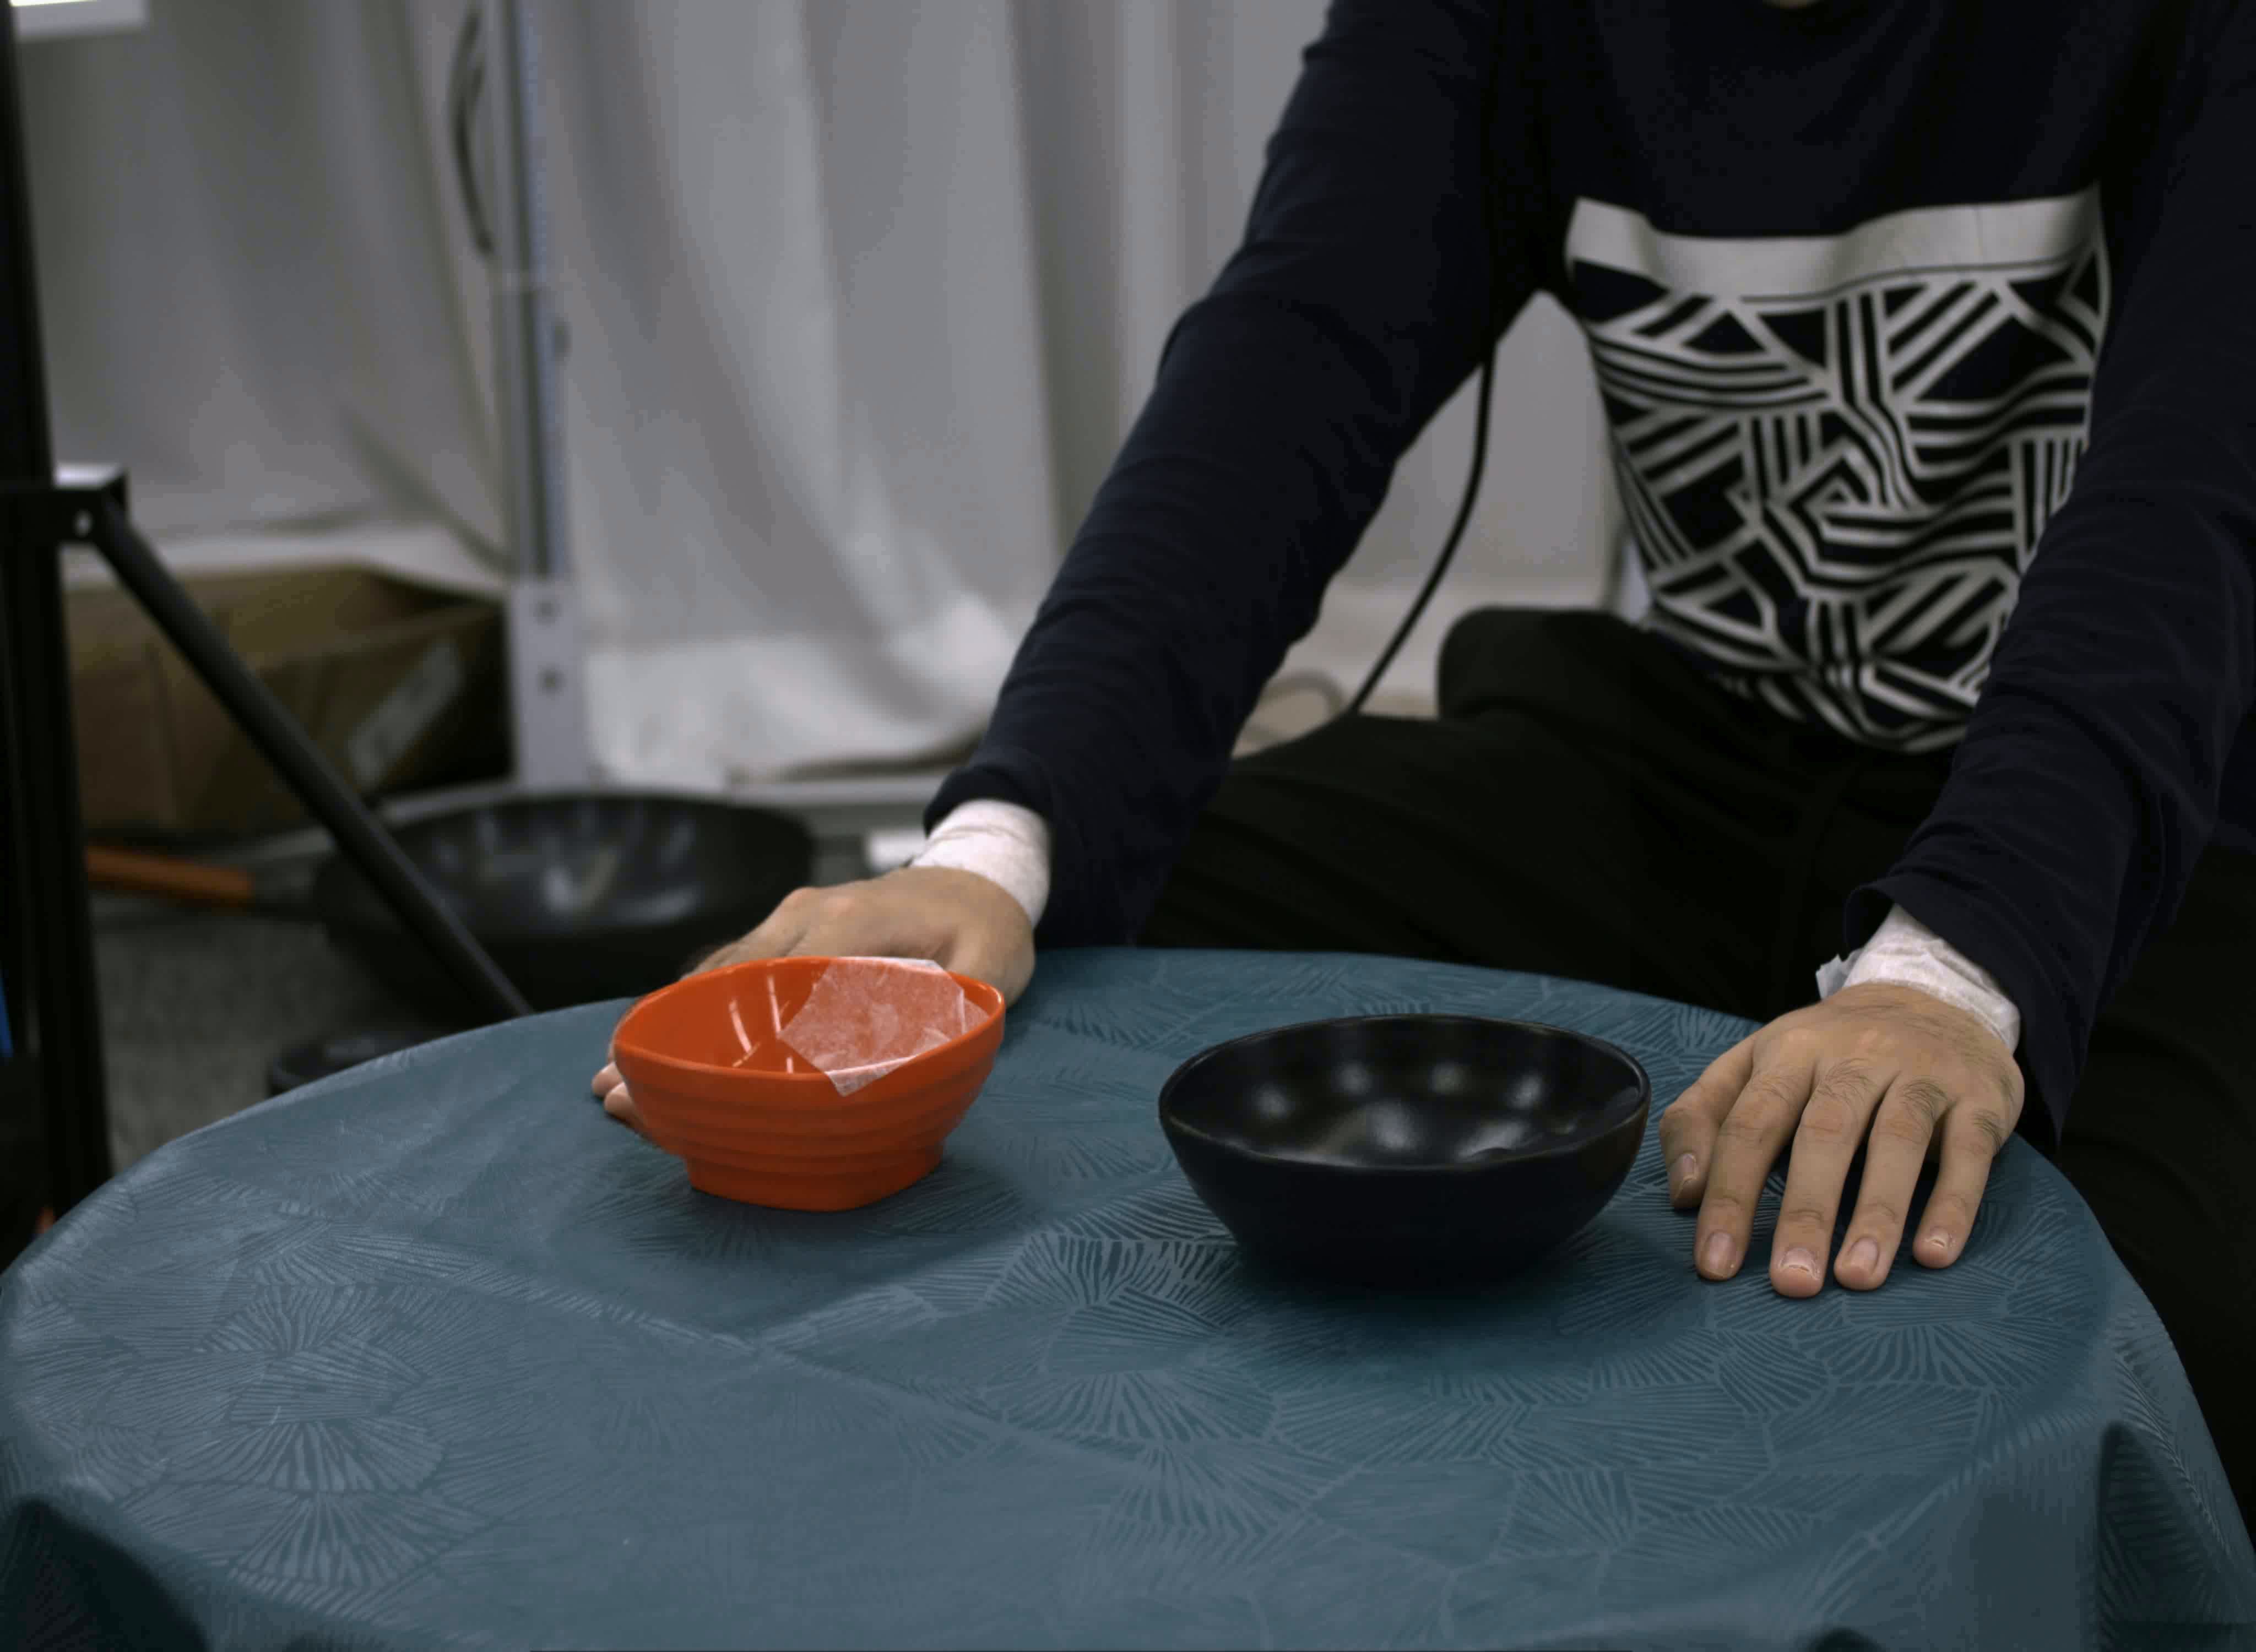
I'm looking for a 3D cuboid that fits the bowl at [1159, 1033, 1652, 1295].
[{"bbox_3d":[0.078,0.100,1.500,0.139,0.050,0.140,0,12,-1],"label":"bowl"}]

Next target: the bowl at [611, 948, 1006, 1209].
[{"bbox_3d":[-0.093,0.078,1.587,0.118,0.051,0.119,-4,17,0],"label":"bowl"}]
